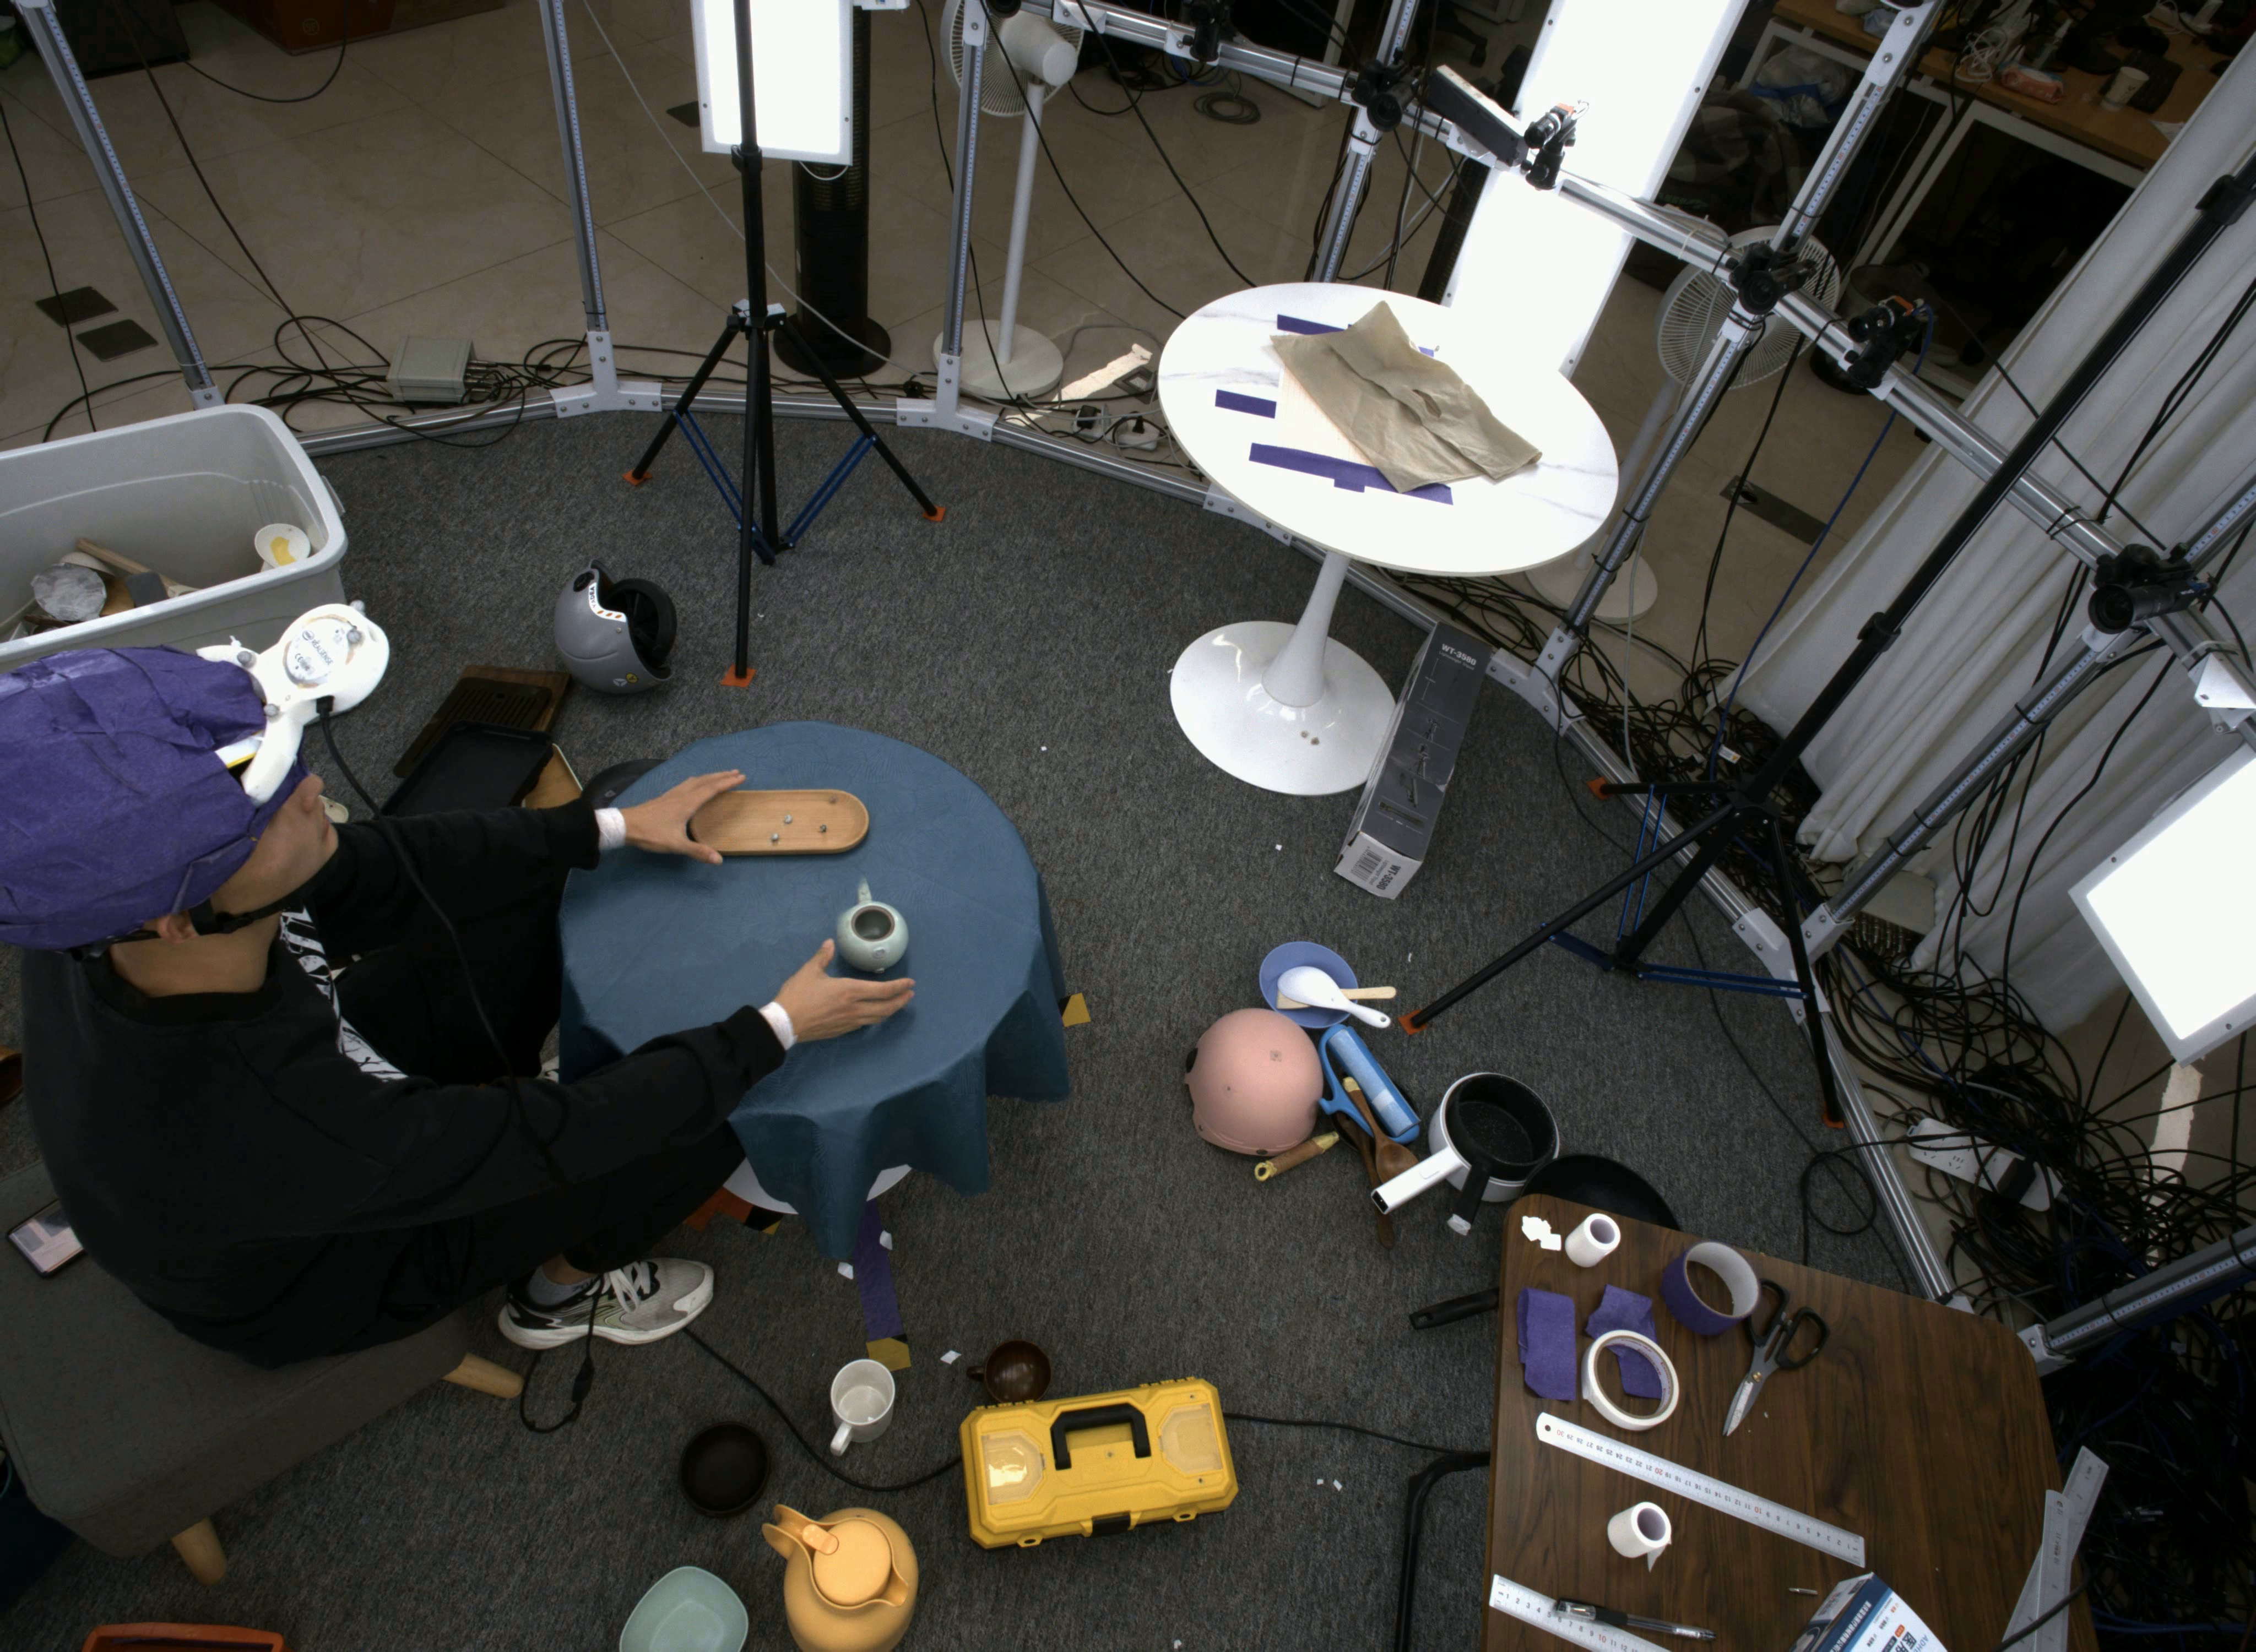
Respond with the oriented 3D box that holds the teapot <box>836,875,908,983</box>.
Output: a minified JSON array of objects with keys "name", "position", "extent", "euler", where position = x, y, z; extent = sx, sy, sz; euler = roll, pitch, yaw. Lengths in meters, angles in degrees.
[{"name":"teapot","position":[-0.315,0.134,1.602],"extent":[0.089,0.076,0.140],"euler":[-9,54,-19]}]

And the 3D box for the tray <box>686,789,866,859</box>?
[{"name":"tray","position":[-0.462,-0.004,1.704],"extent":[0.231,0.021,0.099],"euler":[-3,53,-15]}]
